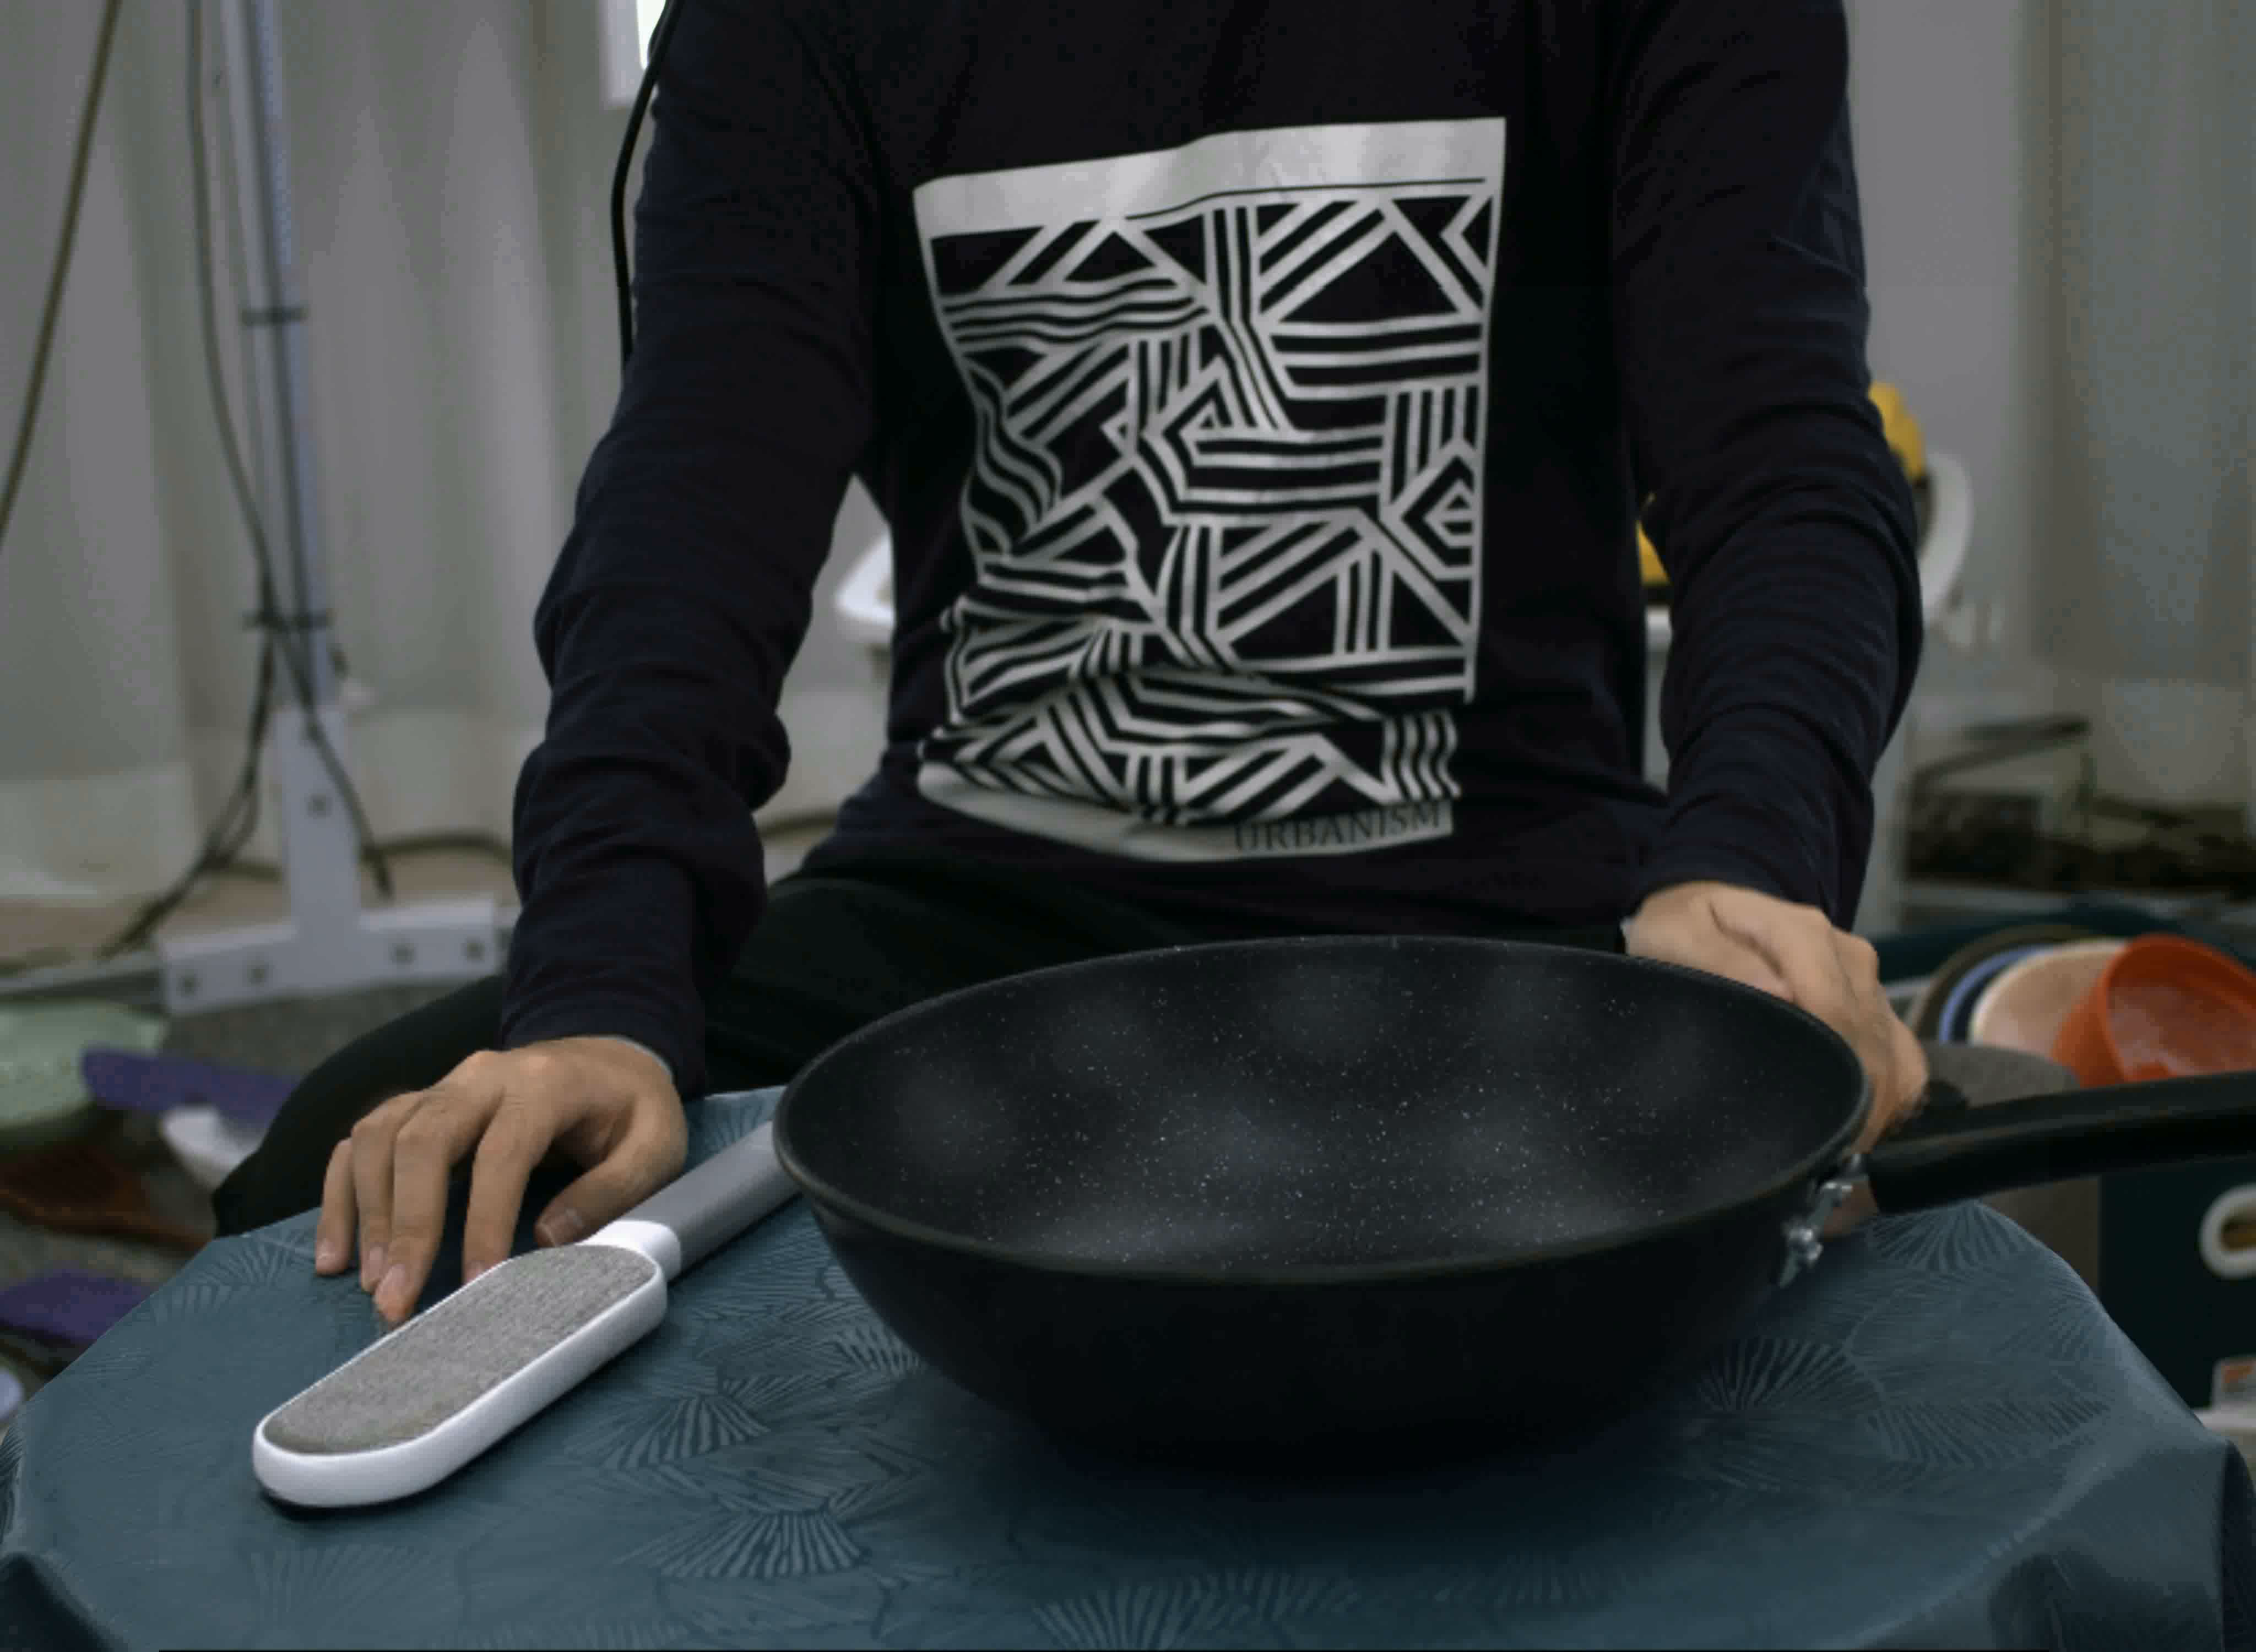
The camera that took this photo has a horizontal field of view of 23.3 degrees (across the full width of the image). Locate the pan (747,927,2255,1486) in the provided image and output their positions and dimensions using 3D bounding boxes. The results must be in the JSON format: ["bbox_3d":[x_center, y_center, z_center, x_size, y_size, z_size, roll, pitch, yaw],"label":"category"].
[{"bbox_3d":[0.126,0.107,1.512,0.477,0.111,0.311,3,17,21],"label":"pan"}]

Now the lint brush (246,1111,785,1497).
[{"bbox_3d":[-0.163,0.137,1.613,0.060,0.021,0.309,-3,13,24],"label":"lint brush"}]
